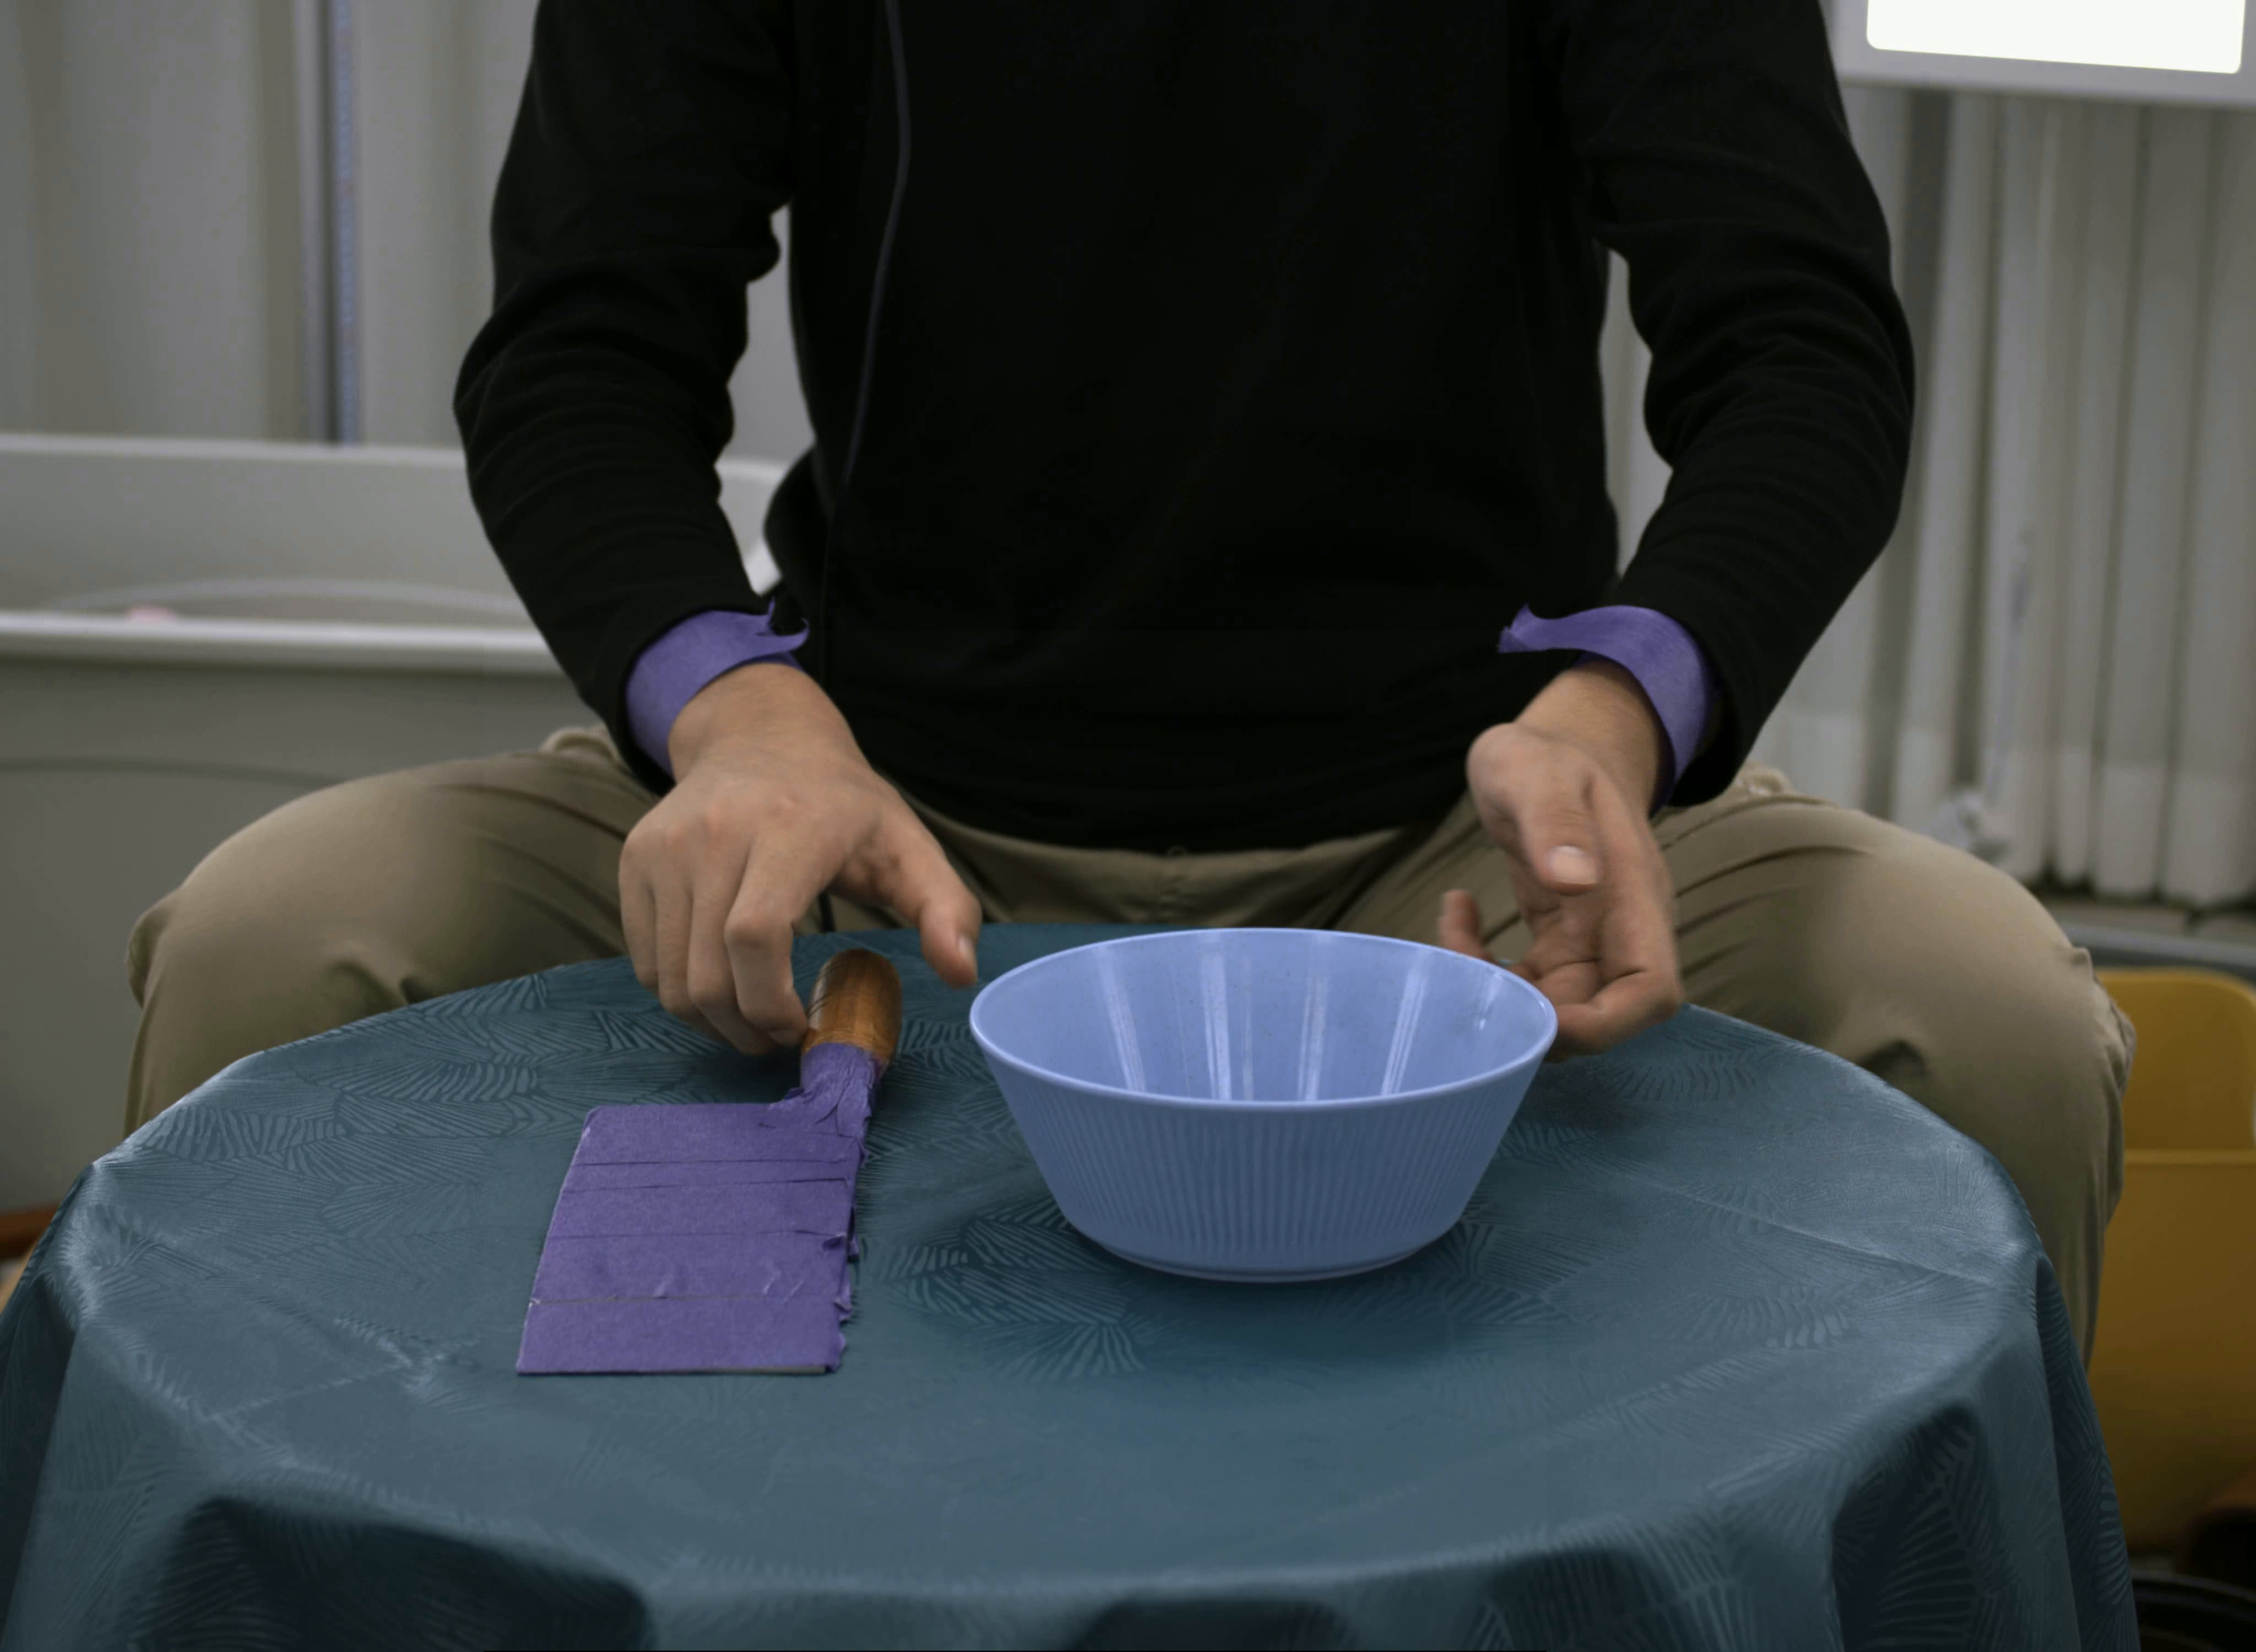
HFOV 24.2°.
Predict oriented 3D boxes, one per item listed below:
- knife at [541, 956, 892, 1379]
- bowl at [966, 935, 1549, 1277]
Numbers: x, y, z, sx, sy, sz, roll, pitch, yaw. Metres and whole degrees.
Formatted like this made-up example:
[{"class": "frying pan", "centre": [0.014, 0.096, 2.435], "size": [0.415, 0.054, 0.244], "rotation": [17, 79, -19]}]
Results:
[{"class": "knife", "centre": [-0.123, 0.100, 1.612], "size": [0.103, 0.032, 0.313], "rotation": [1, 16, 0]}, {"class": "bowl", "centre": [0.038, 0.086, 1.585], "size": [0.175, 0.071, 0.175], "rotation": [2, 15, 0]}]
